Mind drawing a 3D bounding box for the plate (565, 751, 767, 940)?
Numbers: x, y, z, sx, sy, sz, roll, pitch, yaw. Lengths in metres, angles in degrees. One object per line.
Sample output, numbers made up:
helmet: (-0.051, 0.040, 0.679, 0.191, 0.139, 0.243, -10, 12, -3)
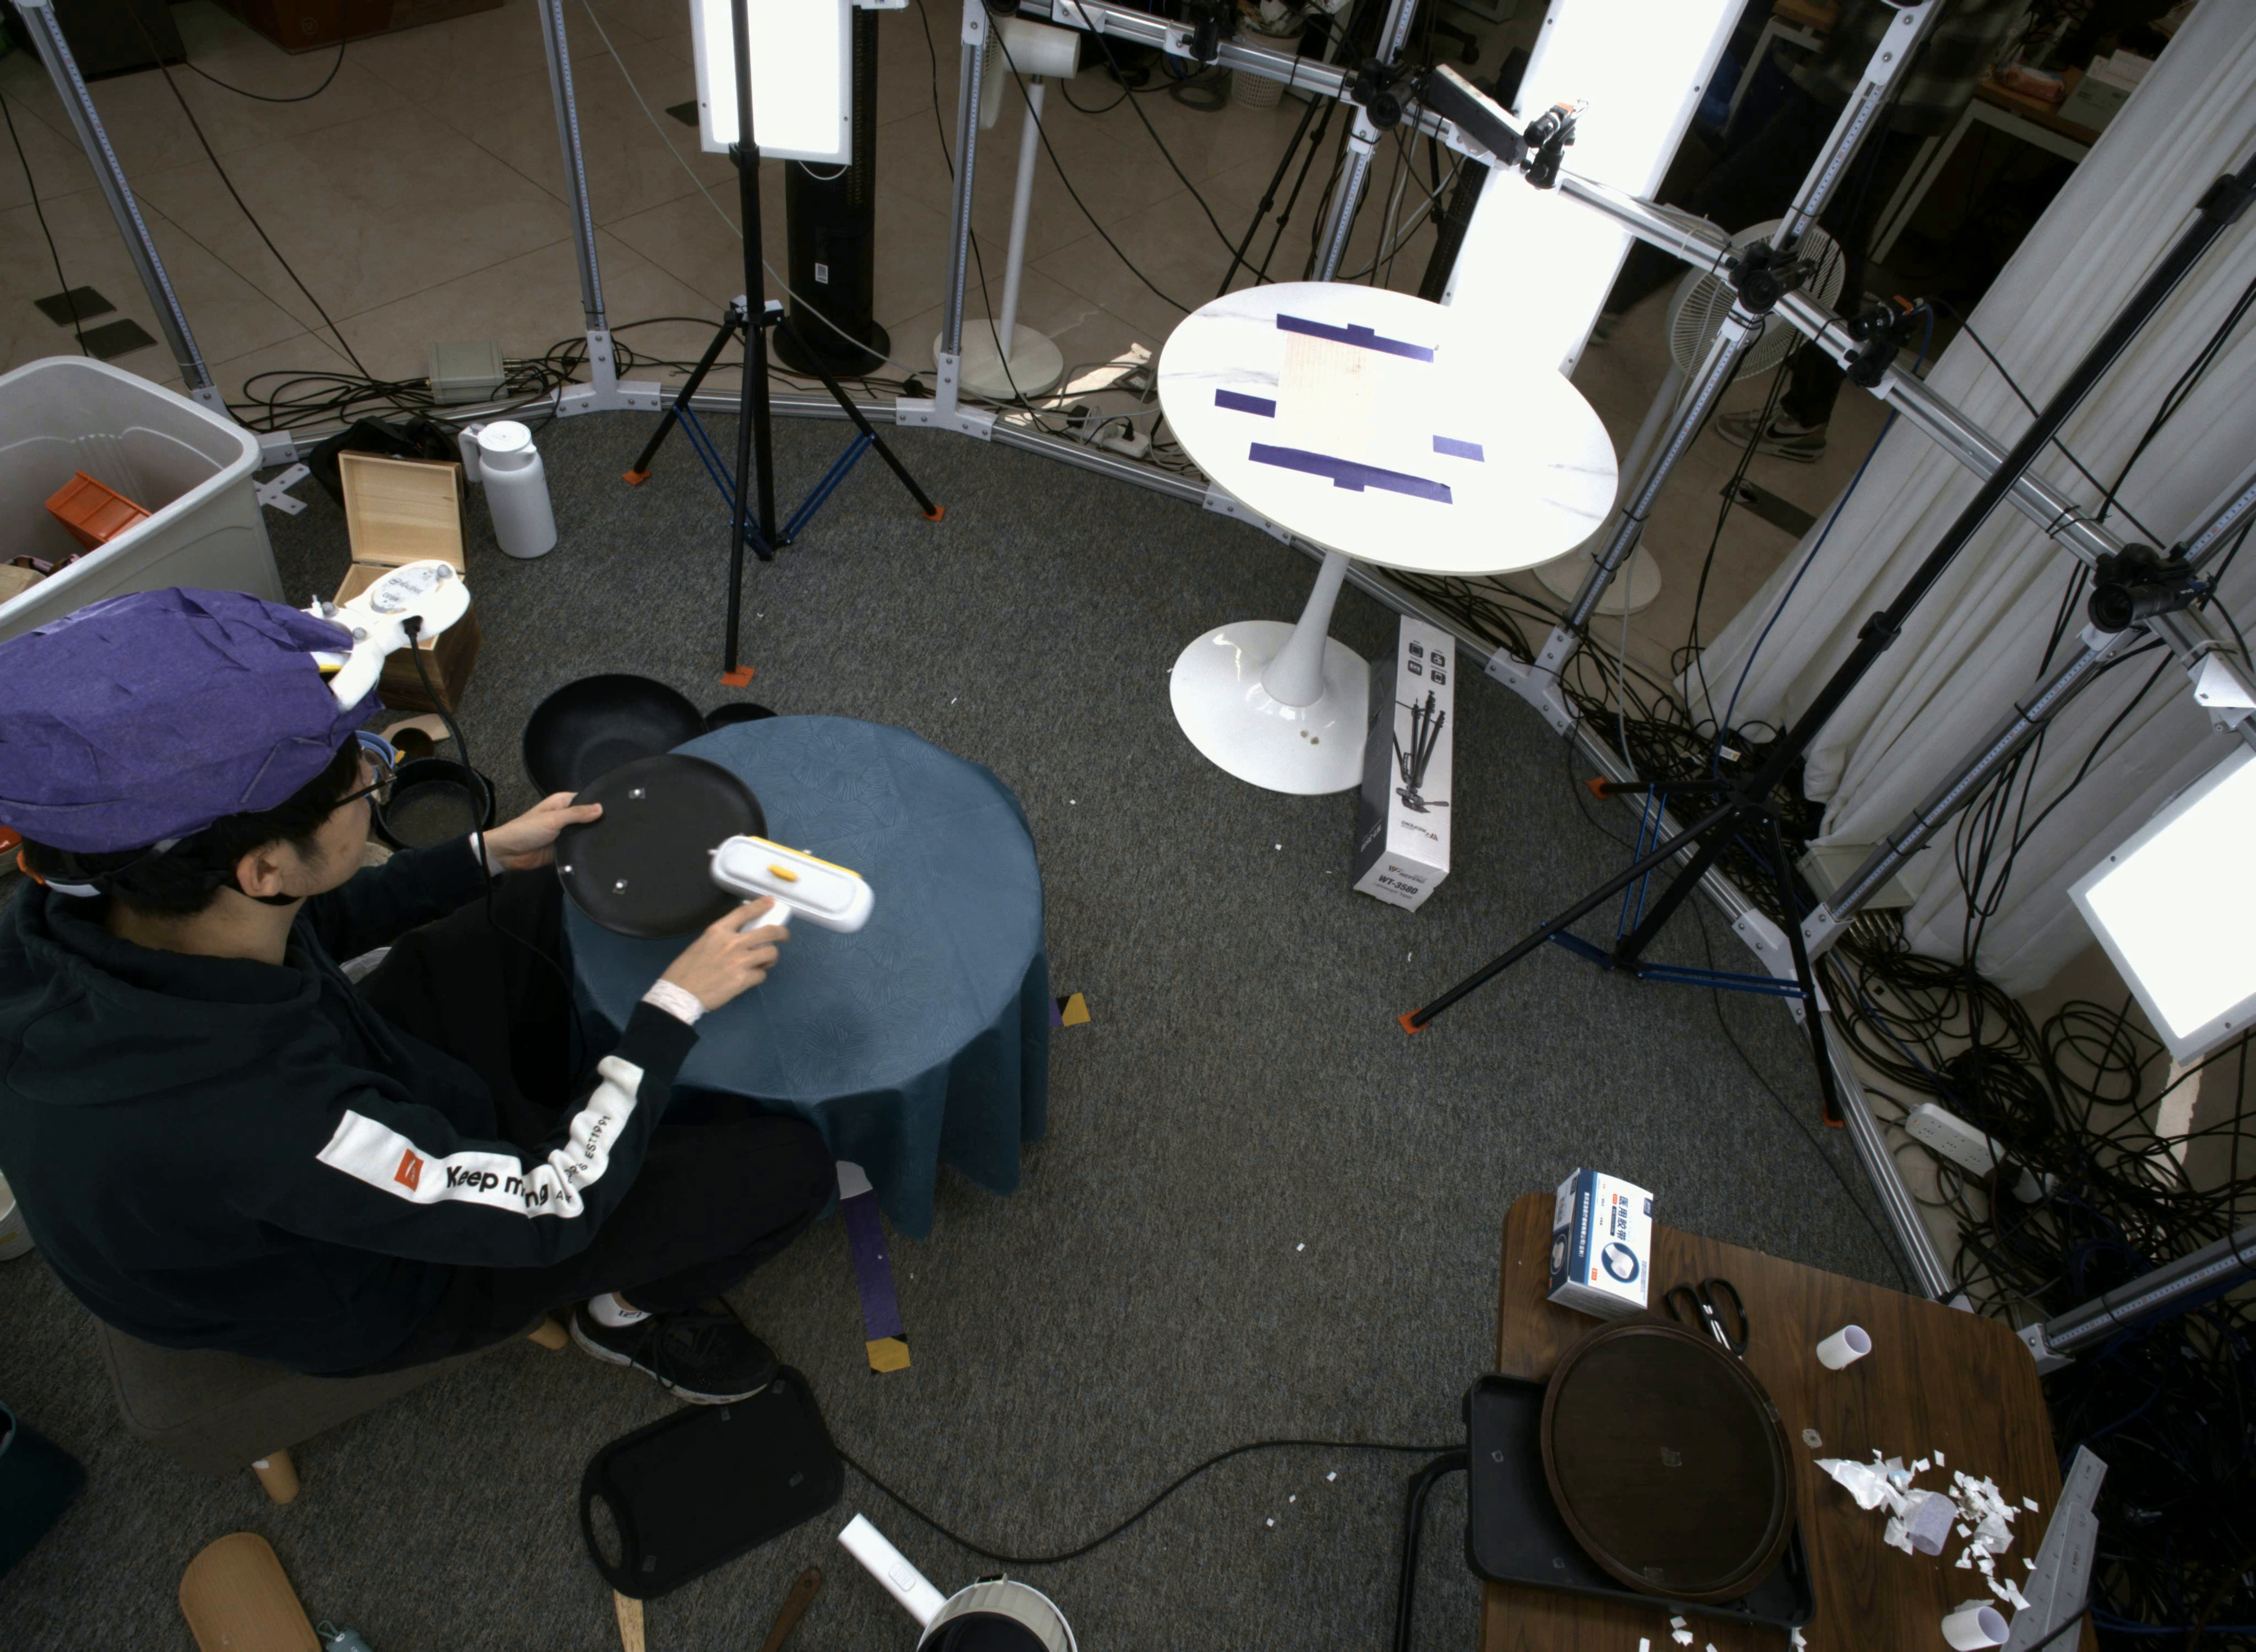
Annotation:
plate: (-0.548, 0.021, 1.518, 0.244, 0.024, 0.241, 6, 64, -10)

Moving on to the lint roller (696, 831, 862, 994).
lint roller: (-0.414, 0.105, 1.453, 0.191, 0.075, 0.191, 17, 62, -1)
